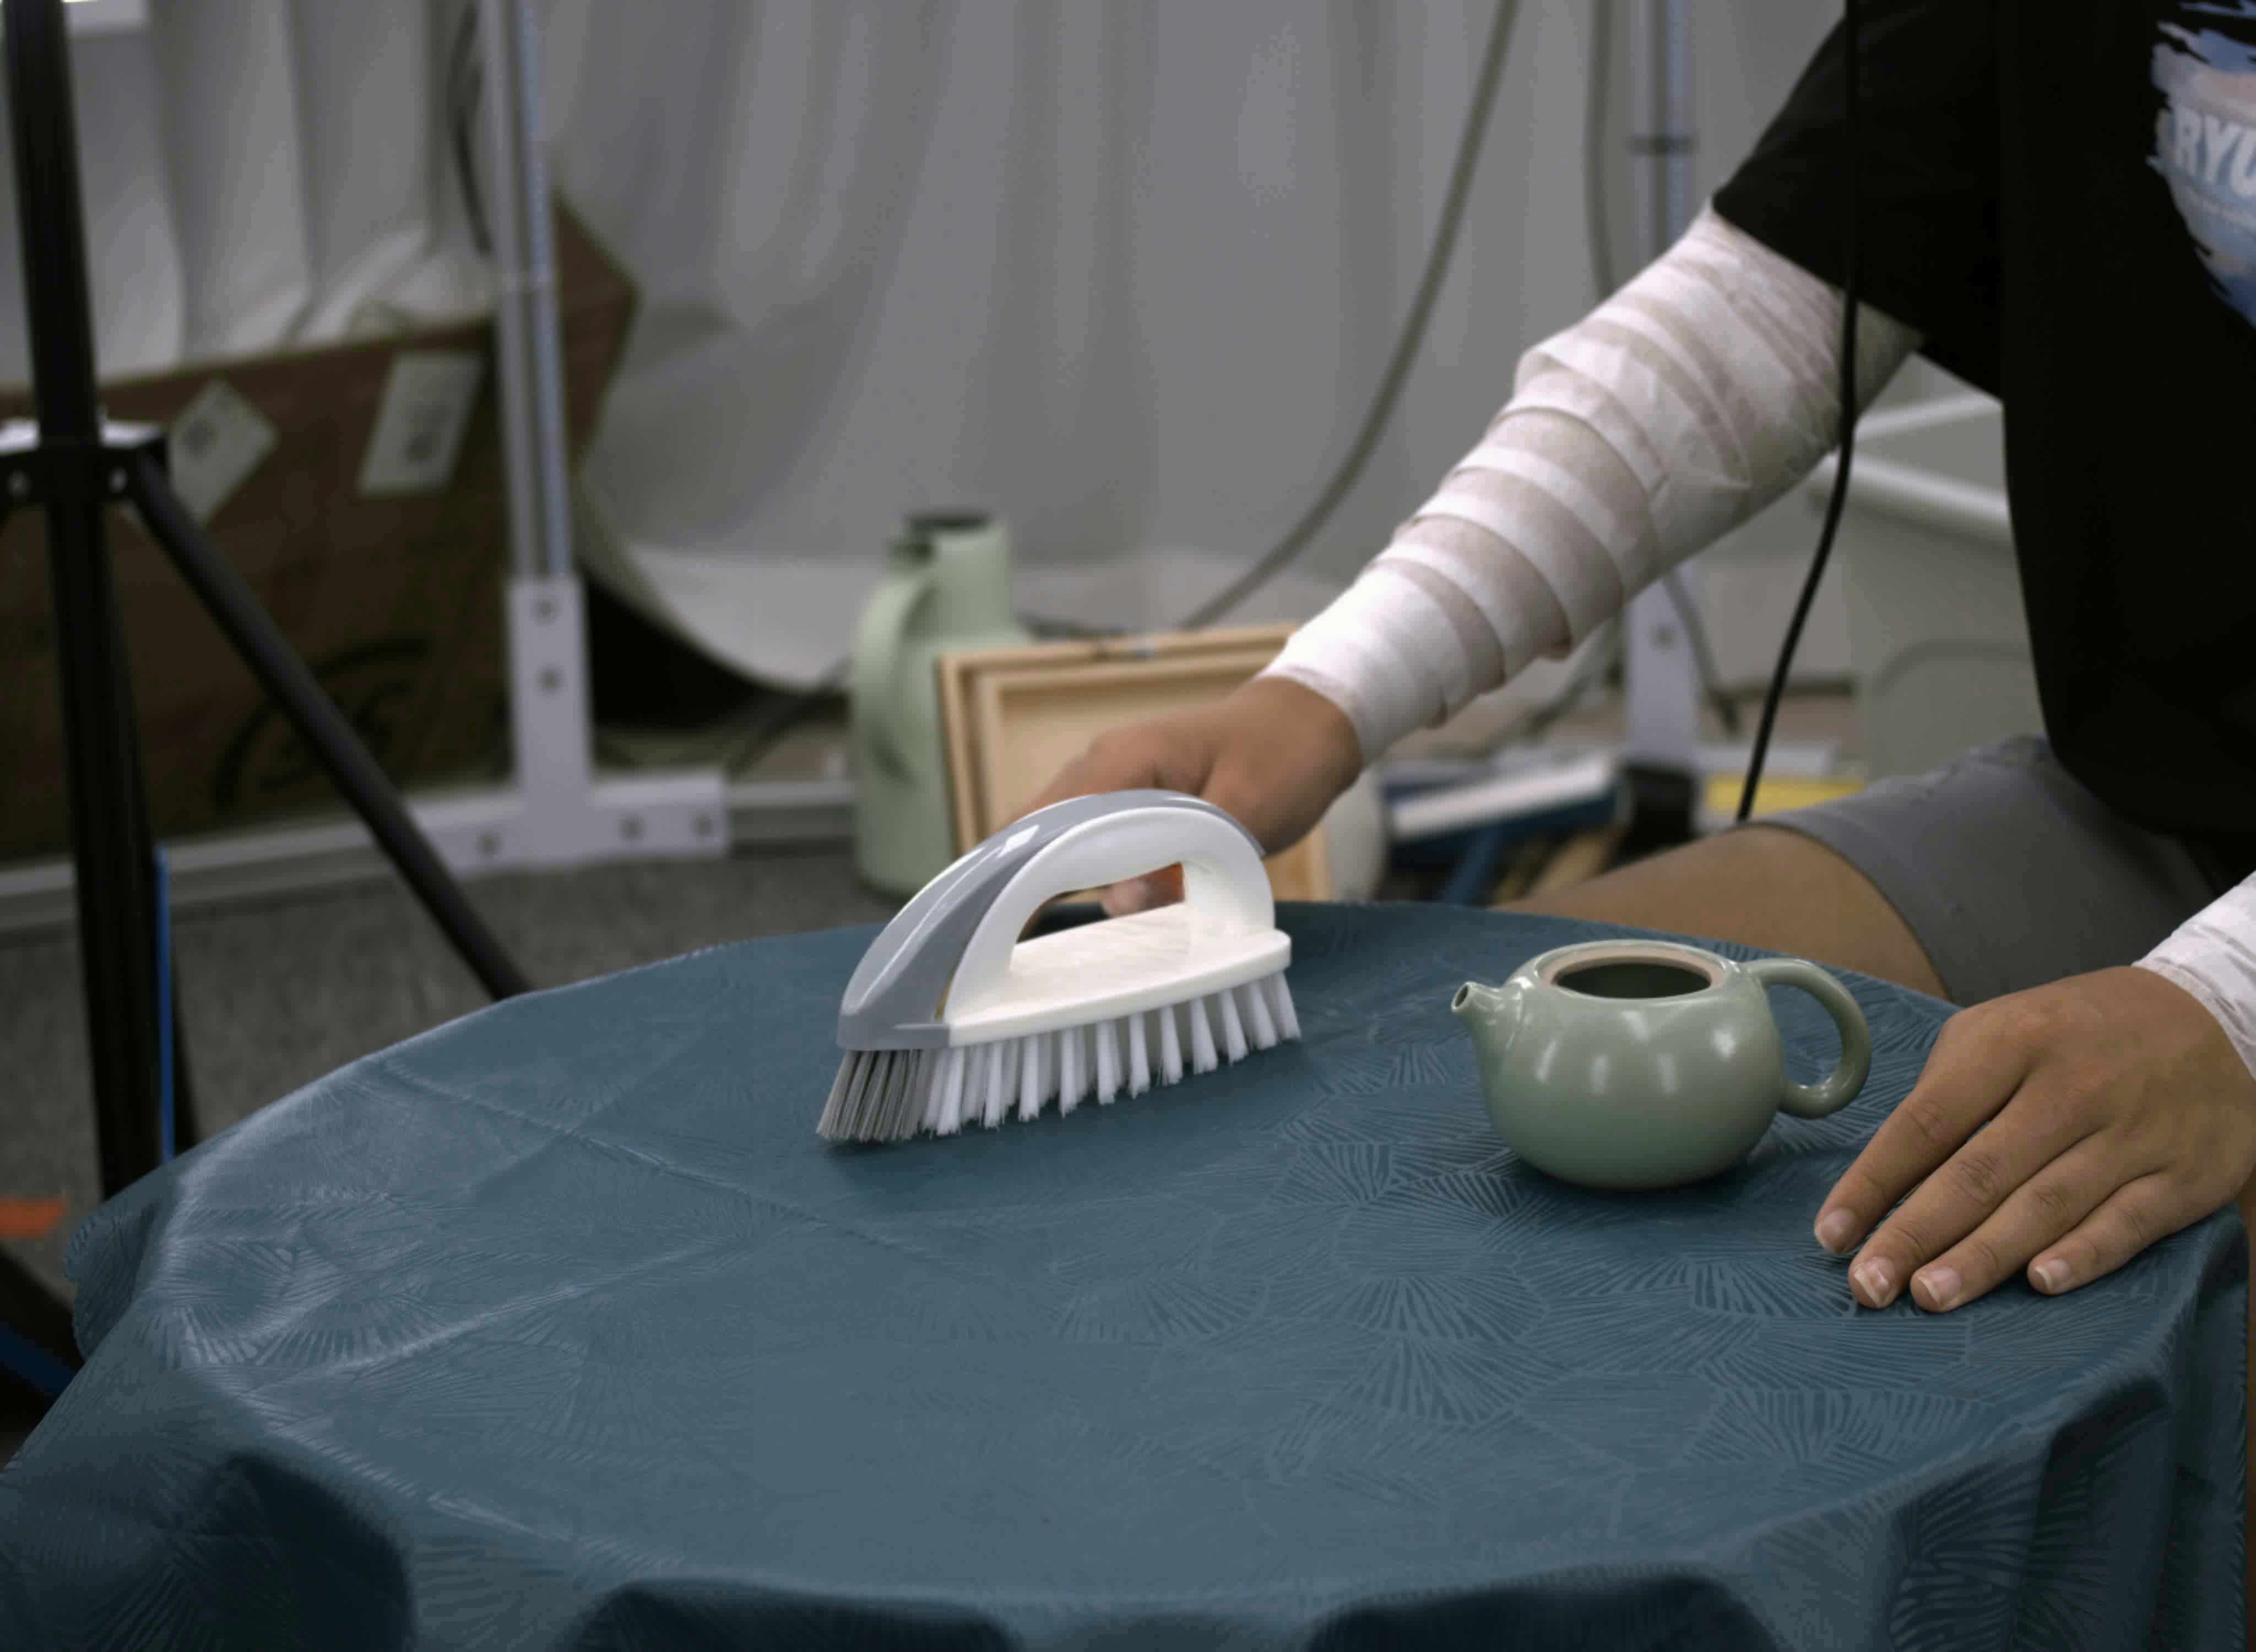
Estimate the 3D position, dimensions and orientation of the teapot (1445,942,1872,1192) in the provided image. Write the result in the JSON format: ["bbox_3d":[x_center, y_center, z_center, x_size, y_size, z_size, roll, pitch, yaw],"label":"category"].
[{"bbox_3d":[0.157,0.071,1.558,0.127,0.061,0.092,-3,13,-5],"label":"teapot"}]

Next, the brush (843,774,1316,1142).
[{"bbox_3d":[-0.022,0.038,1.643,0.171,0.094,0.063,-16,16,-36],"label":"brush"}]
